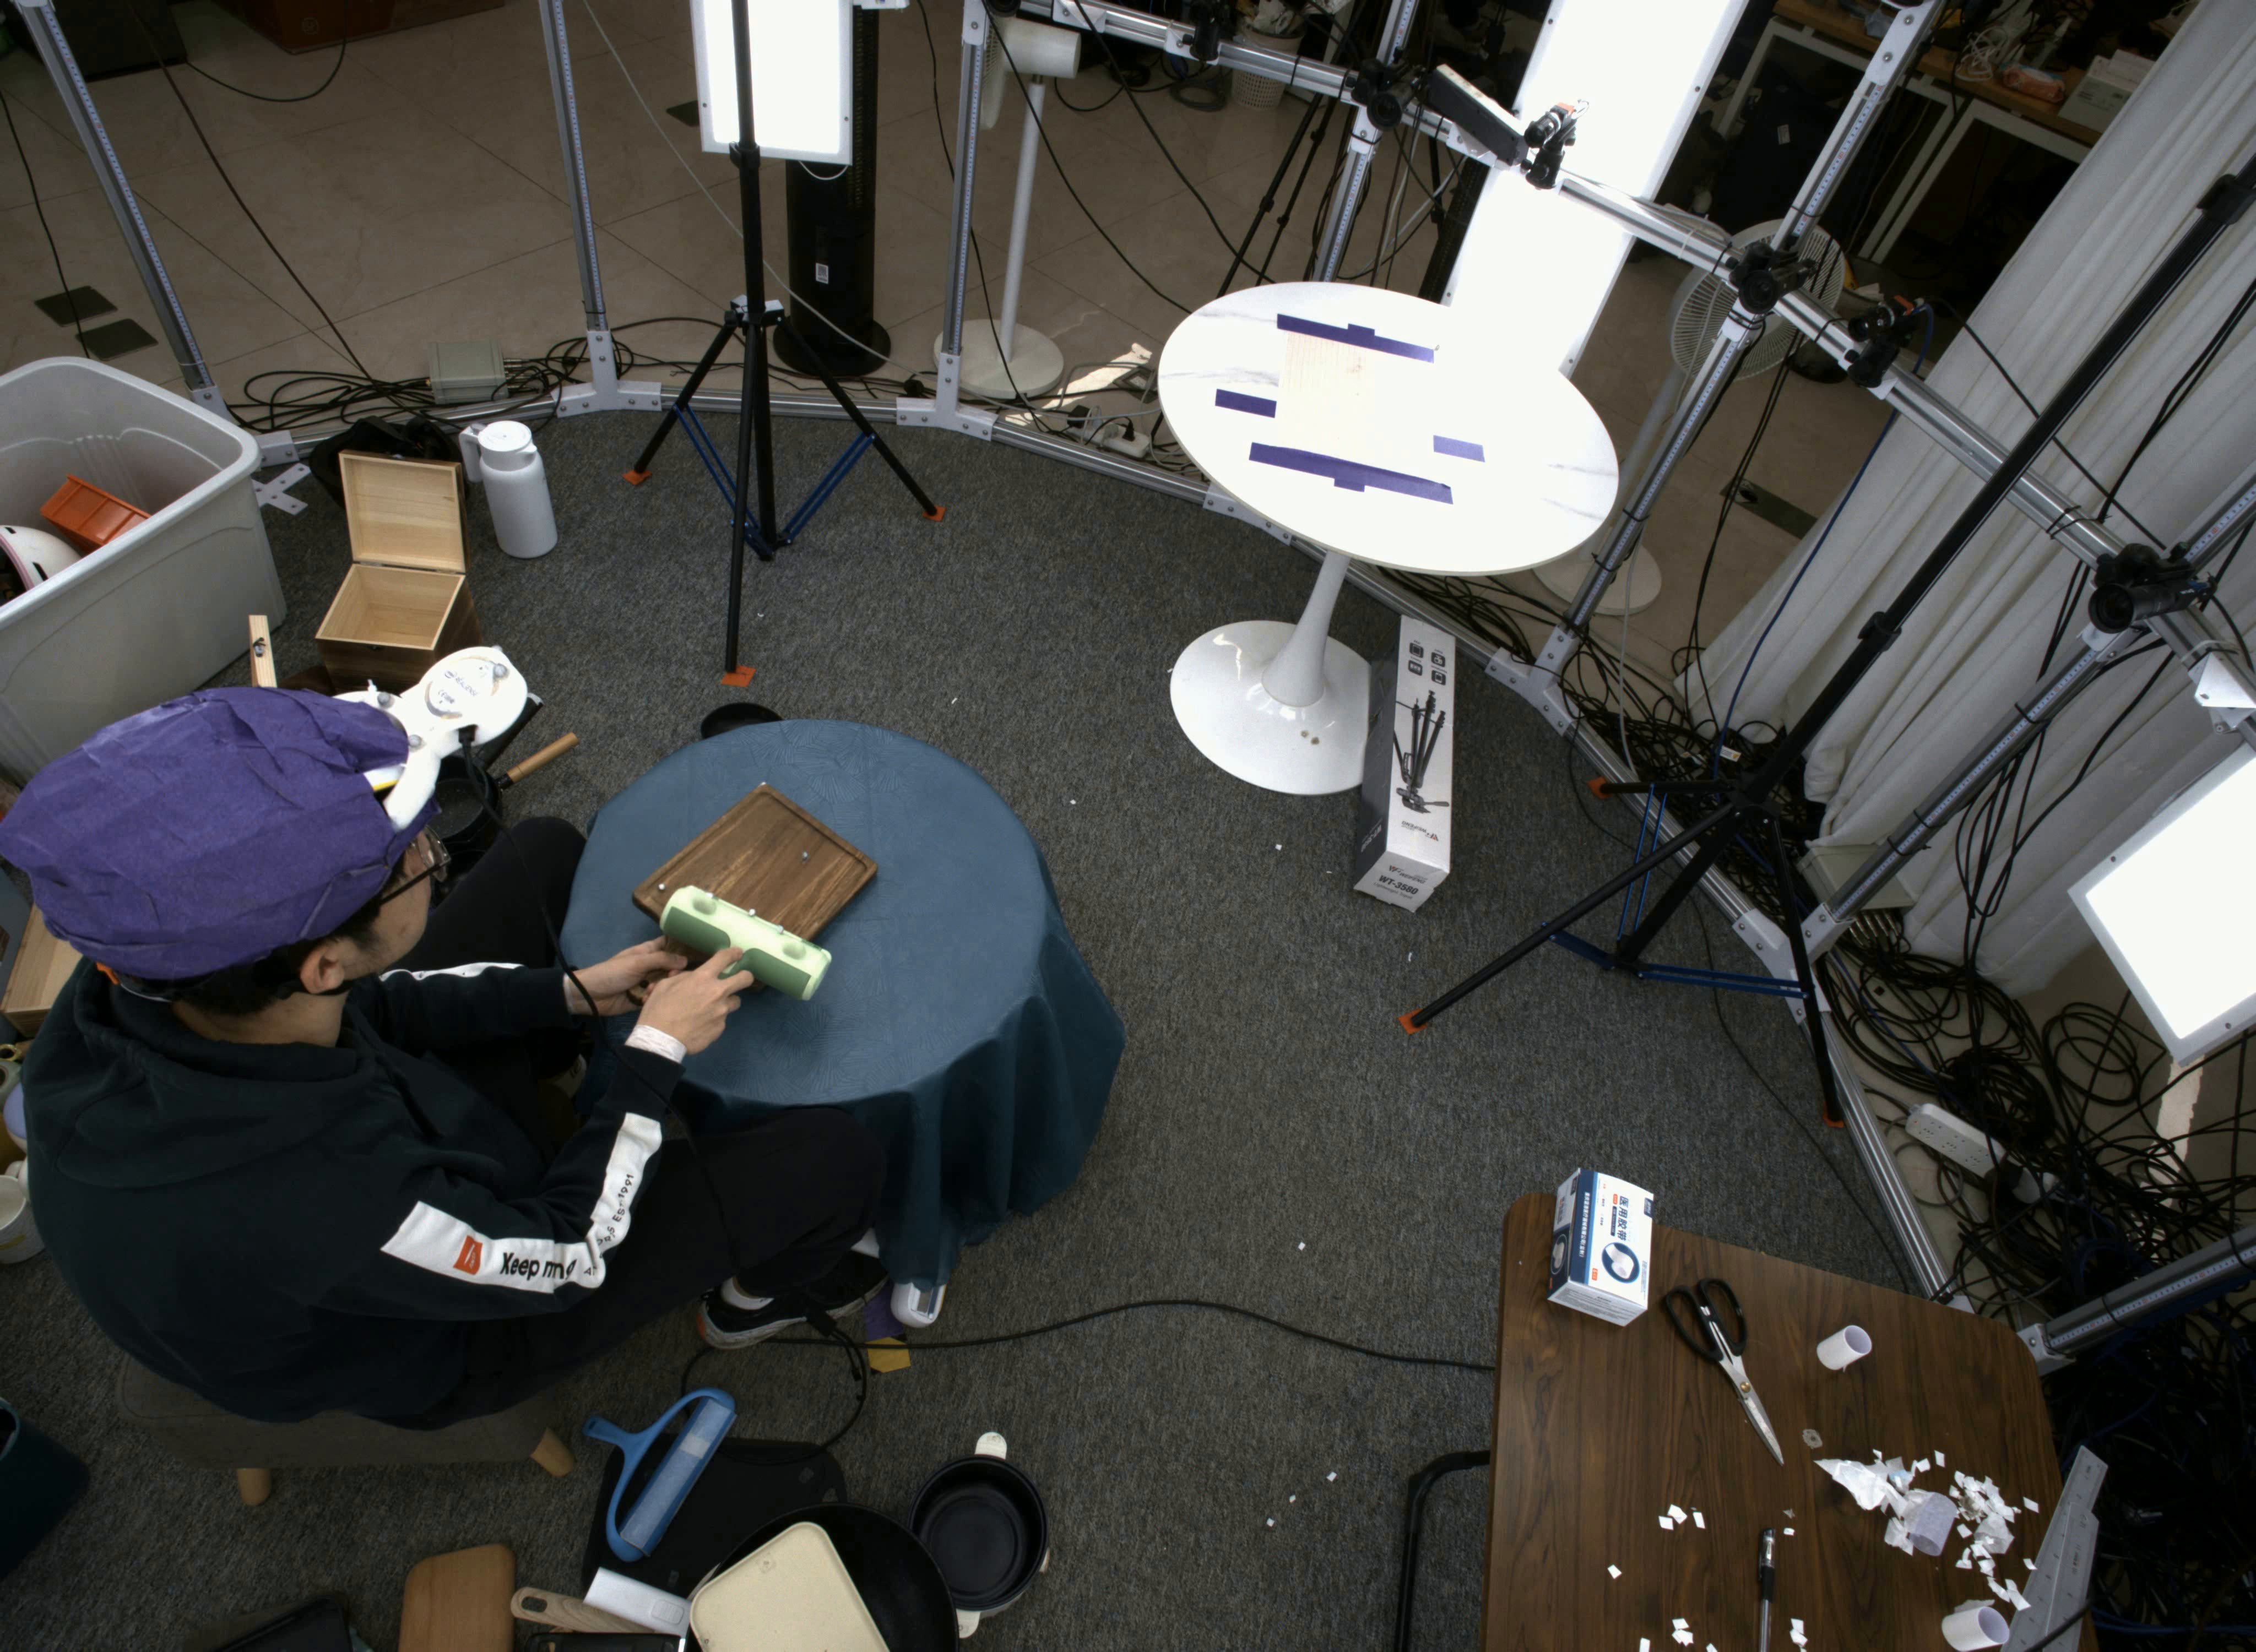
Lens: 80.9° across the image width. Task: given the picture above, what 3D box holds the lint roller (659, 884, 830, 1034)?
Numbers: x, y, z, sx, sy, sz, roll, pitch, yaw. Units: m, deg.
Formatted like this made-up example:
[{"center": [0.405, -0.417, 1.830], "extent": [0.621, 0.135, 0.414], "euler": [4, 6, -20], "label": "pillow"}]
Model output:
[{"center": [-0.456, 0.153, 1.458], "extent": [0.199, 0.083, 0.181], "euler": [28, 30, -5], "label": "lint roller"}]

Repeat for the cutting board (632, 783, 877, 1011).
[{"center": [-0.486, 0.098, 1.591], "extent": [0.200, 0.023, 0.351], "euler": [36, 47, 2], "label": "cutting board"}]
